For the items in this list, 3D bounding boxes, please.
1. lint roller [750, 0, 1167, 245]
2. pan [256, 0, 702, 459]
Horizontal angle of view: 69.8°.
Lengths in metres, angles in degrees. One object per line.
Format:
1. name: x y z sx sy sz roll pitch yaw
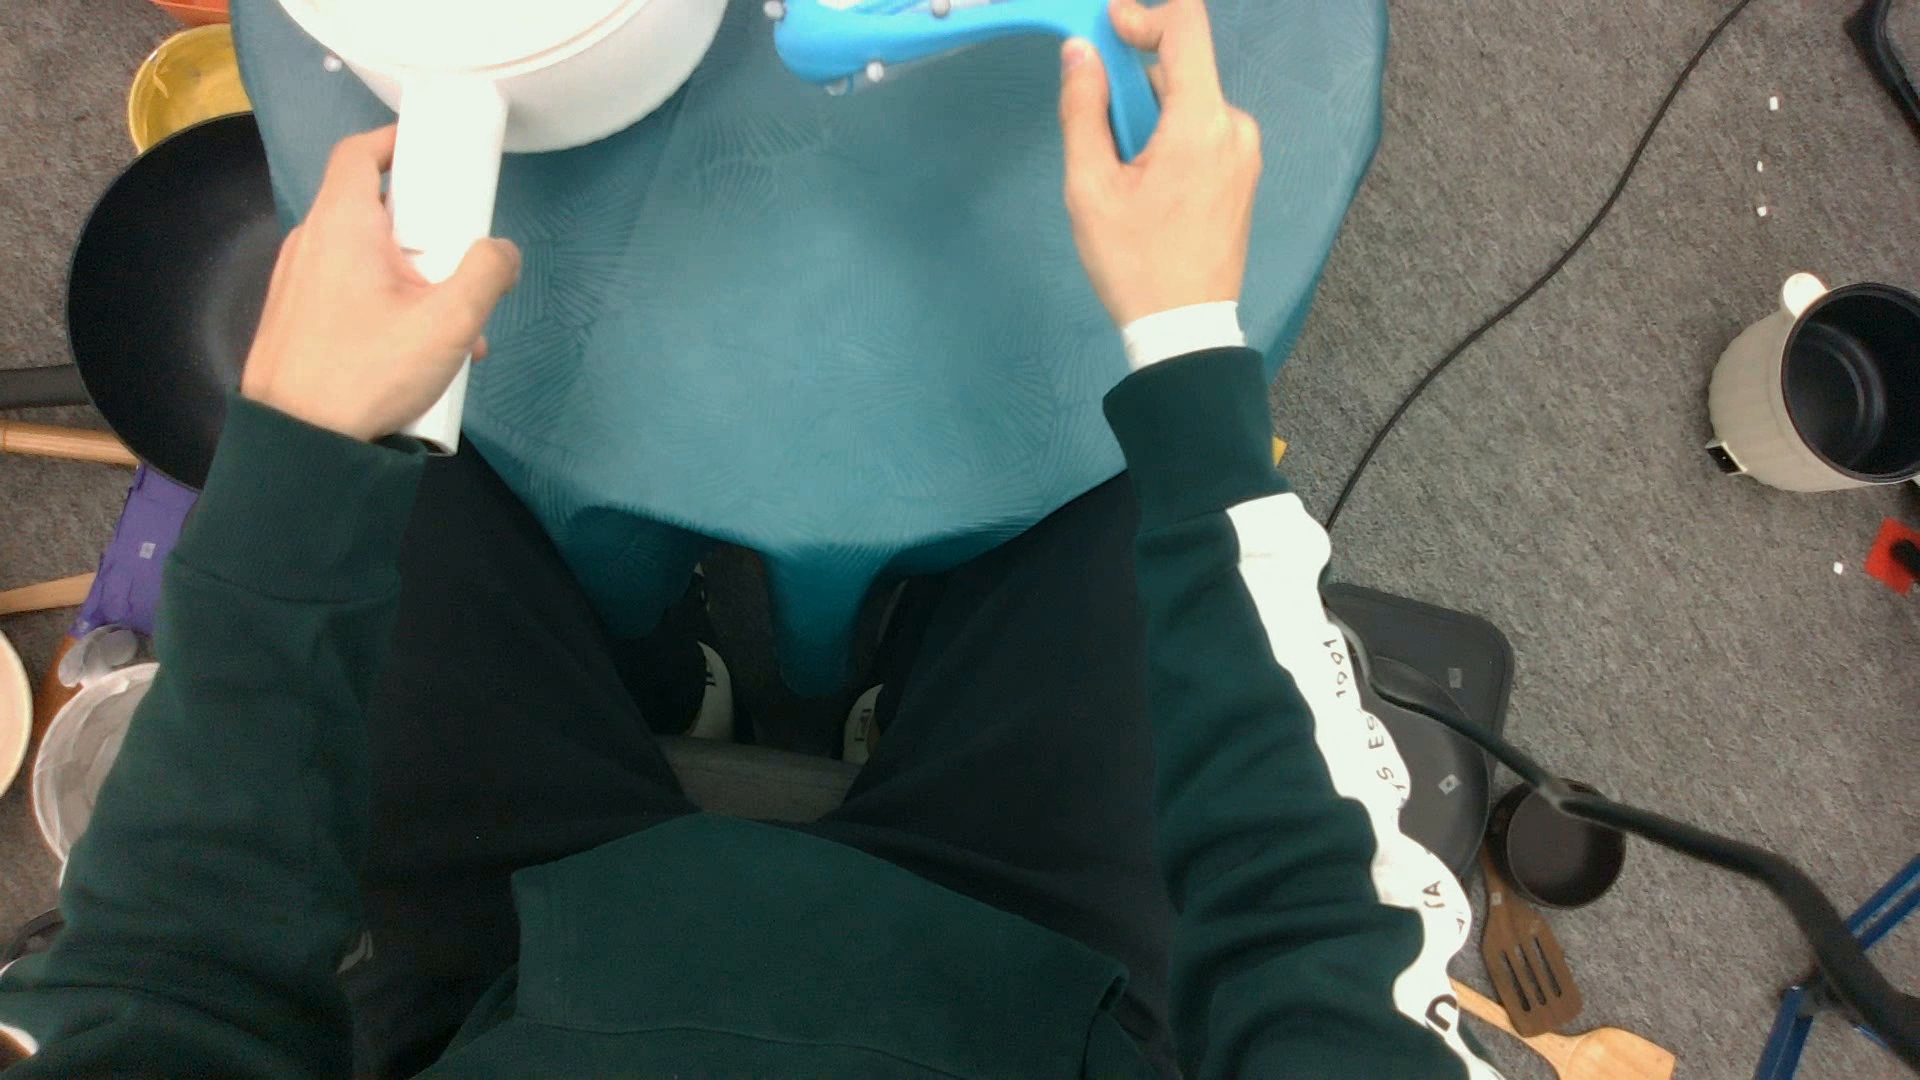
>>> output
1. lint roller: 0.042 -0.217 0.607 0.229 0.067 0.180 -29 72 -16
2. pan: -0.223 -0.205 0.622 0.201 0.102 0.355 3 80 1
